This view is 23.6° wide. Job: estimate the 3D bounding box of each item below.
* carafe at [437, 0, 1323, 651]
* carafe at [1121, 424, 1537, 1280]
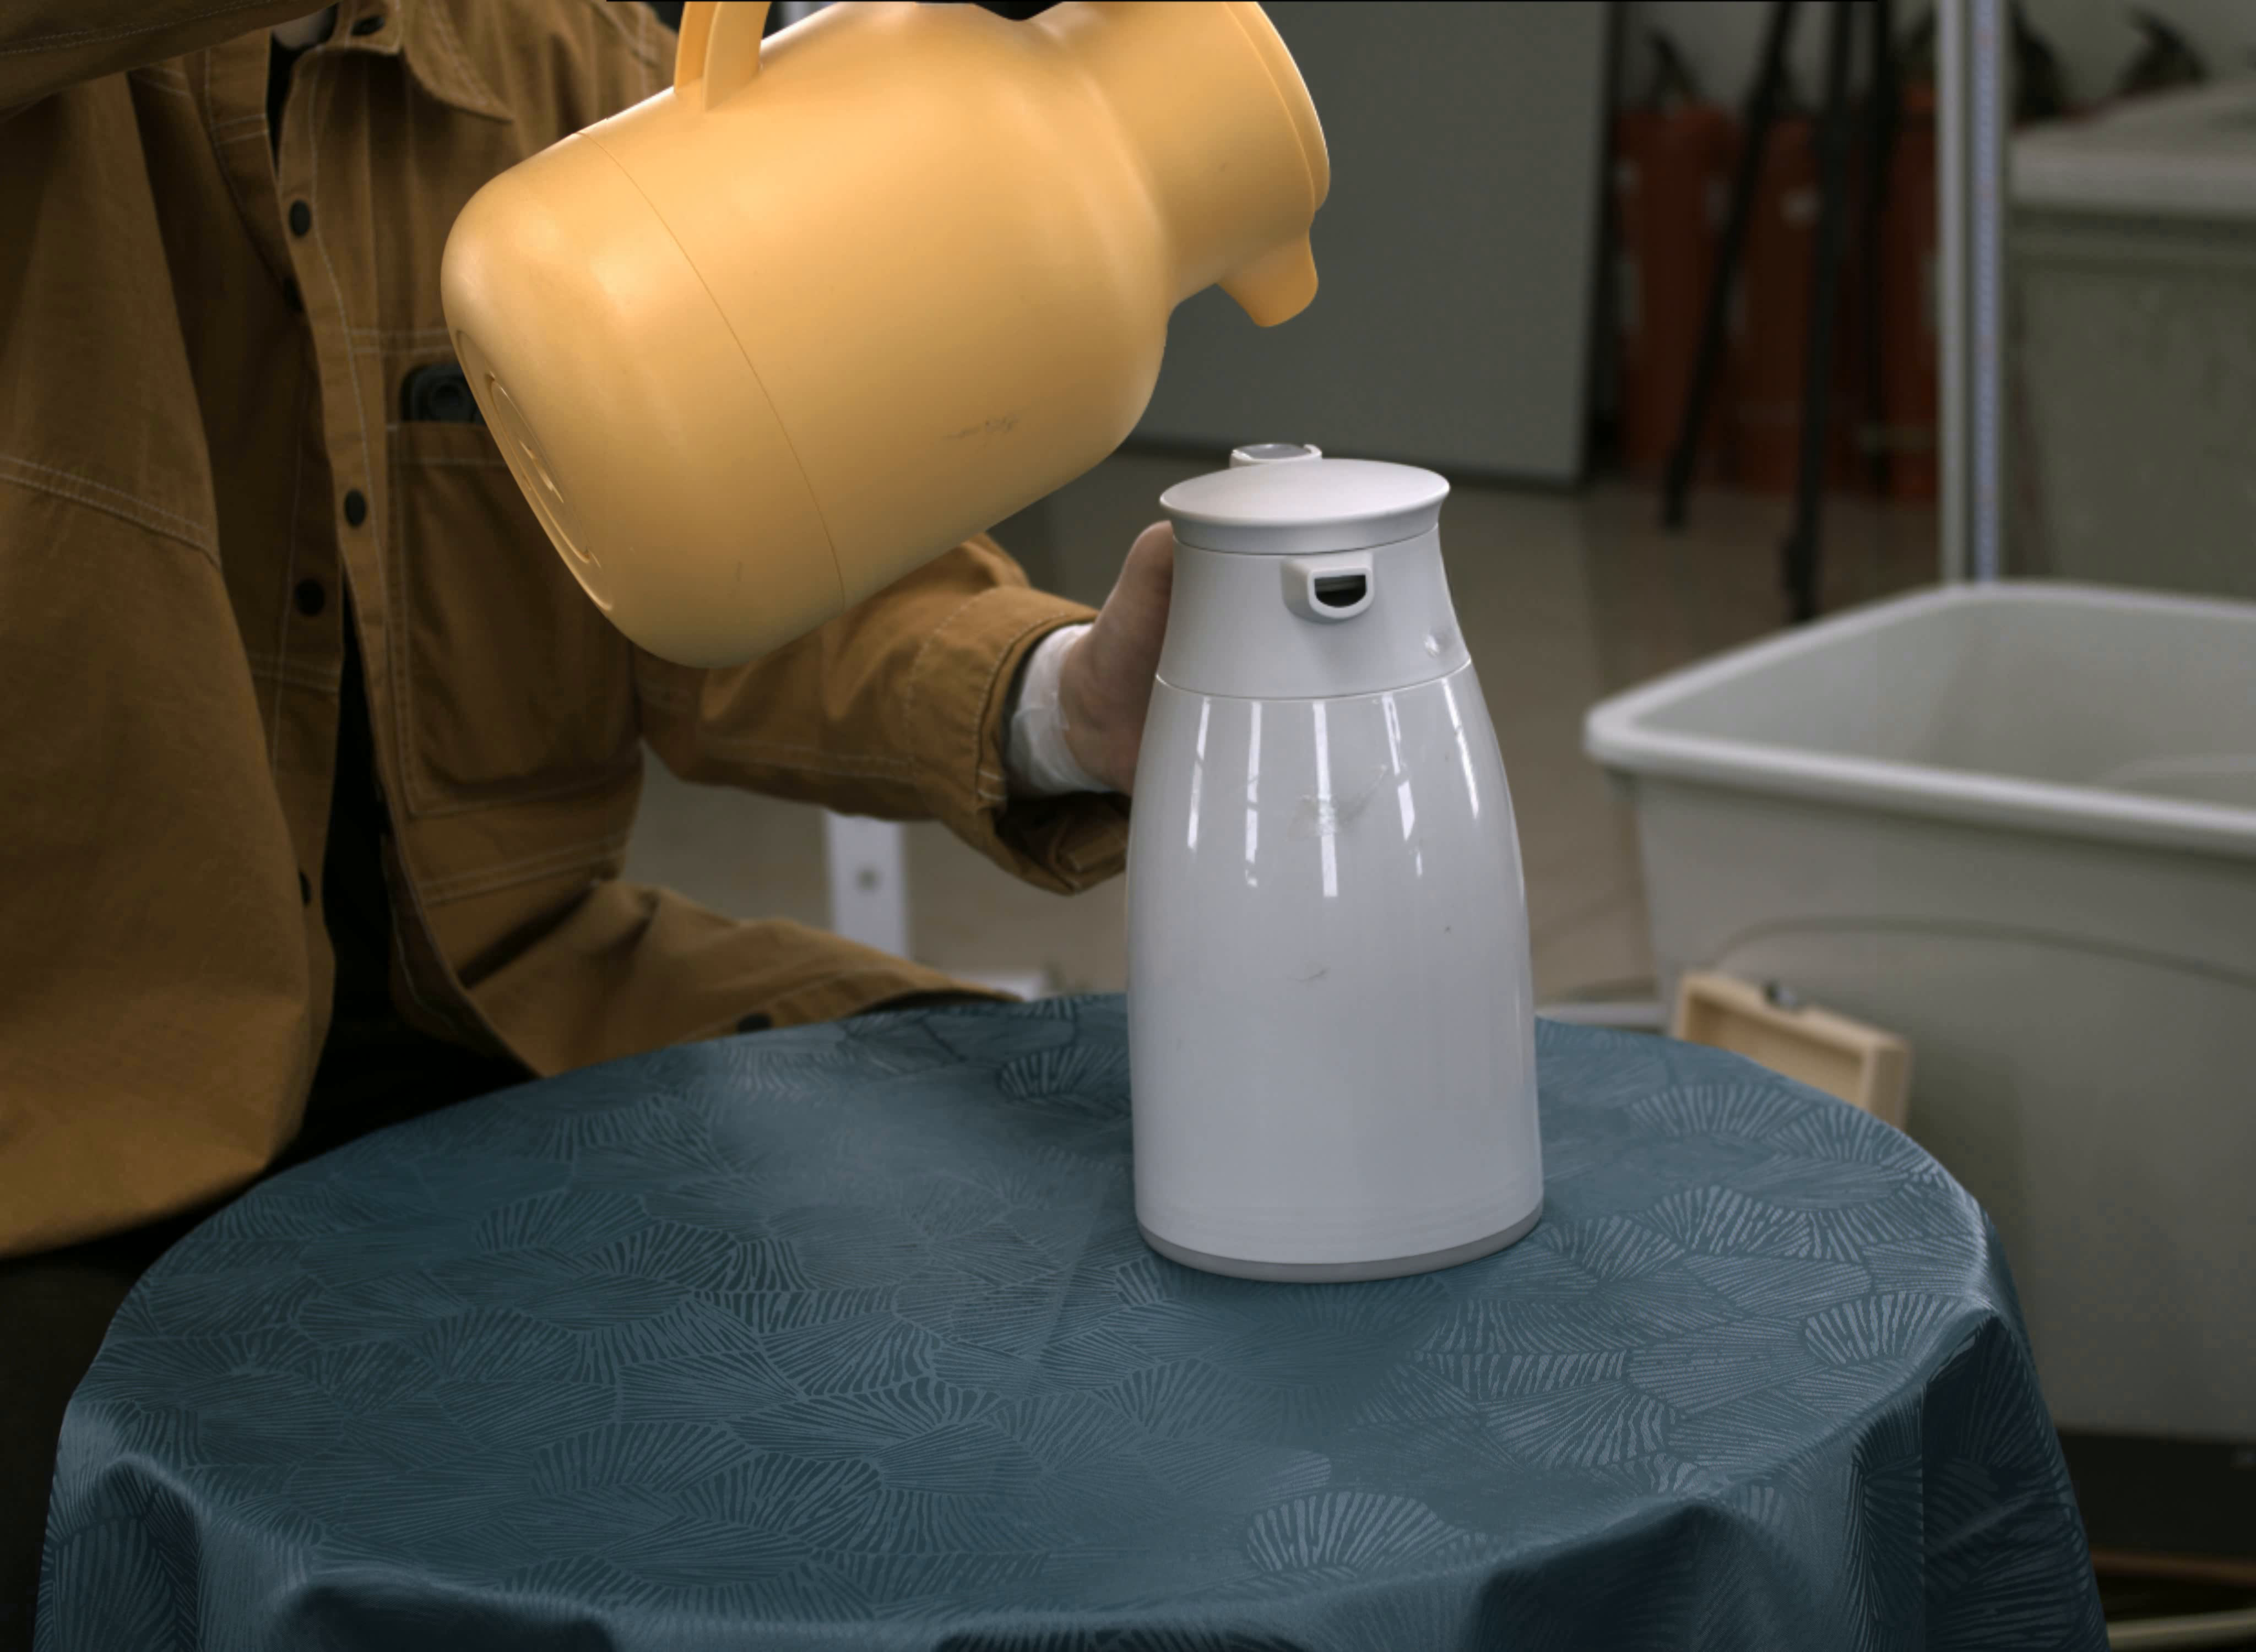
[{"bbox_3d":[-0.075,-0.190,1.608,0.257,0.202,0.165,-30,26,-13],"label":"carafe"},{"bbox_3d":[0.056,0.000,1.723,0.130,0.251,0.168,-5,13,-7],"label":"carafe"}]
